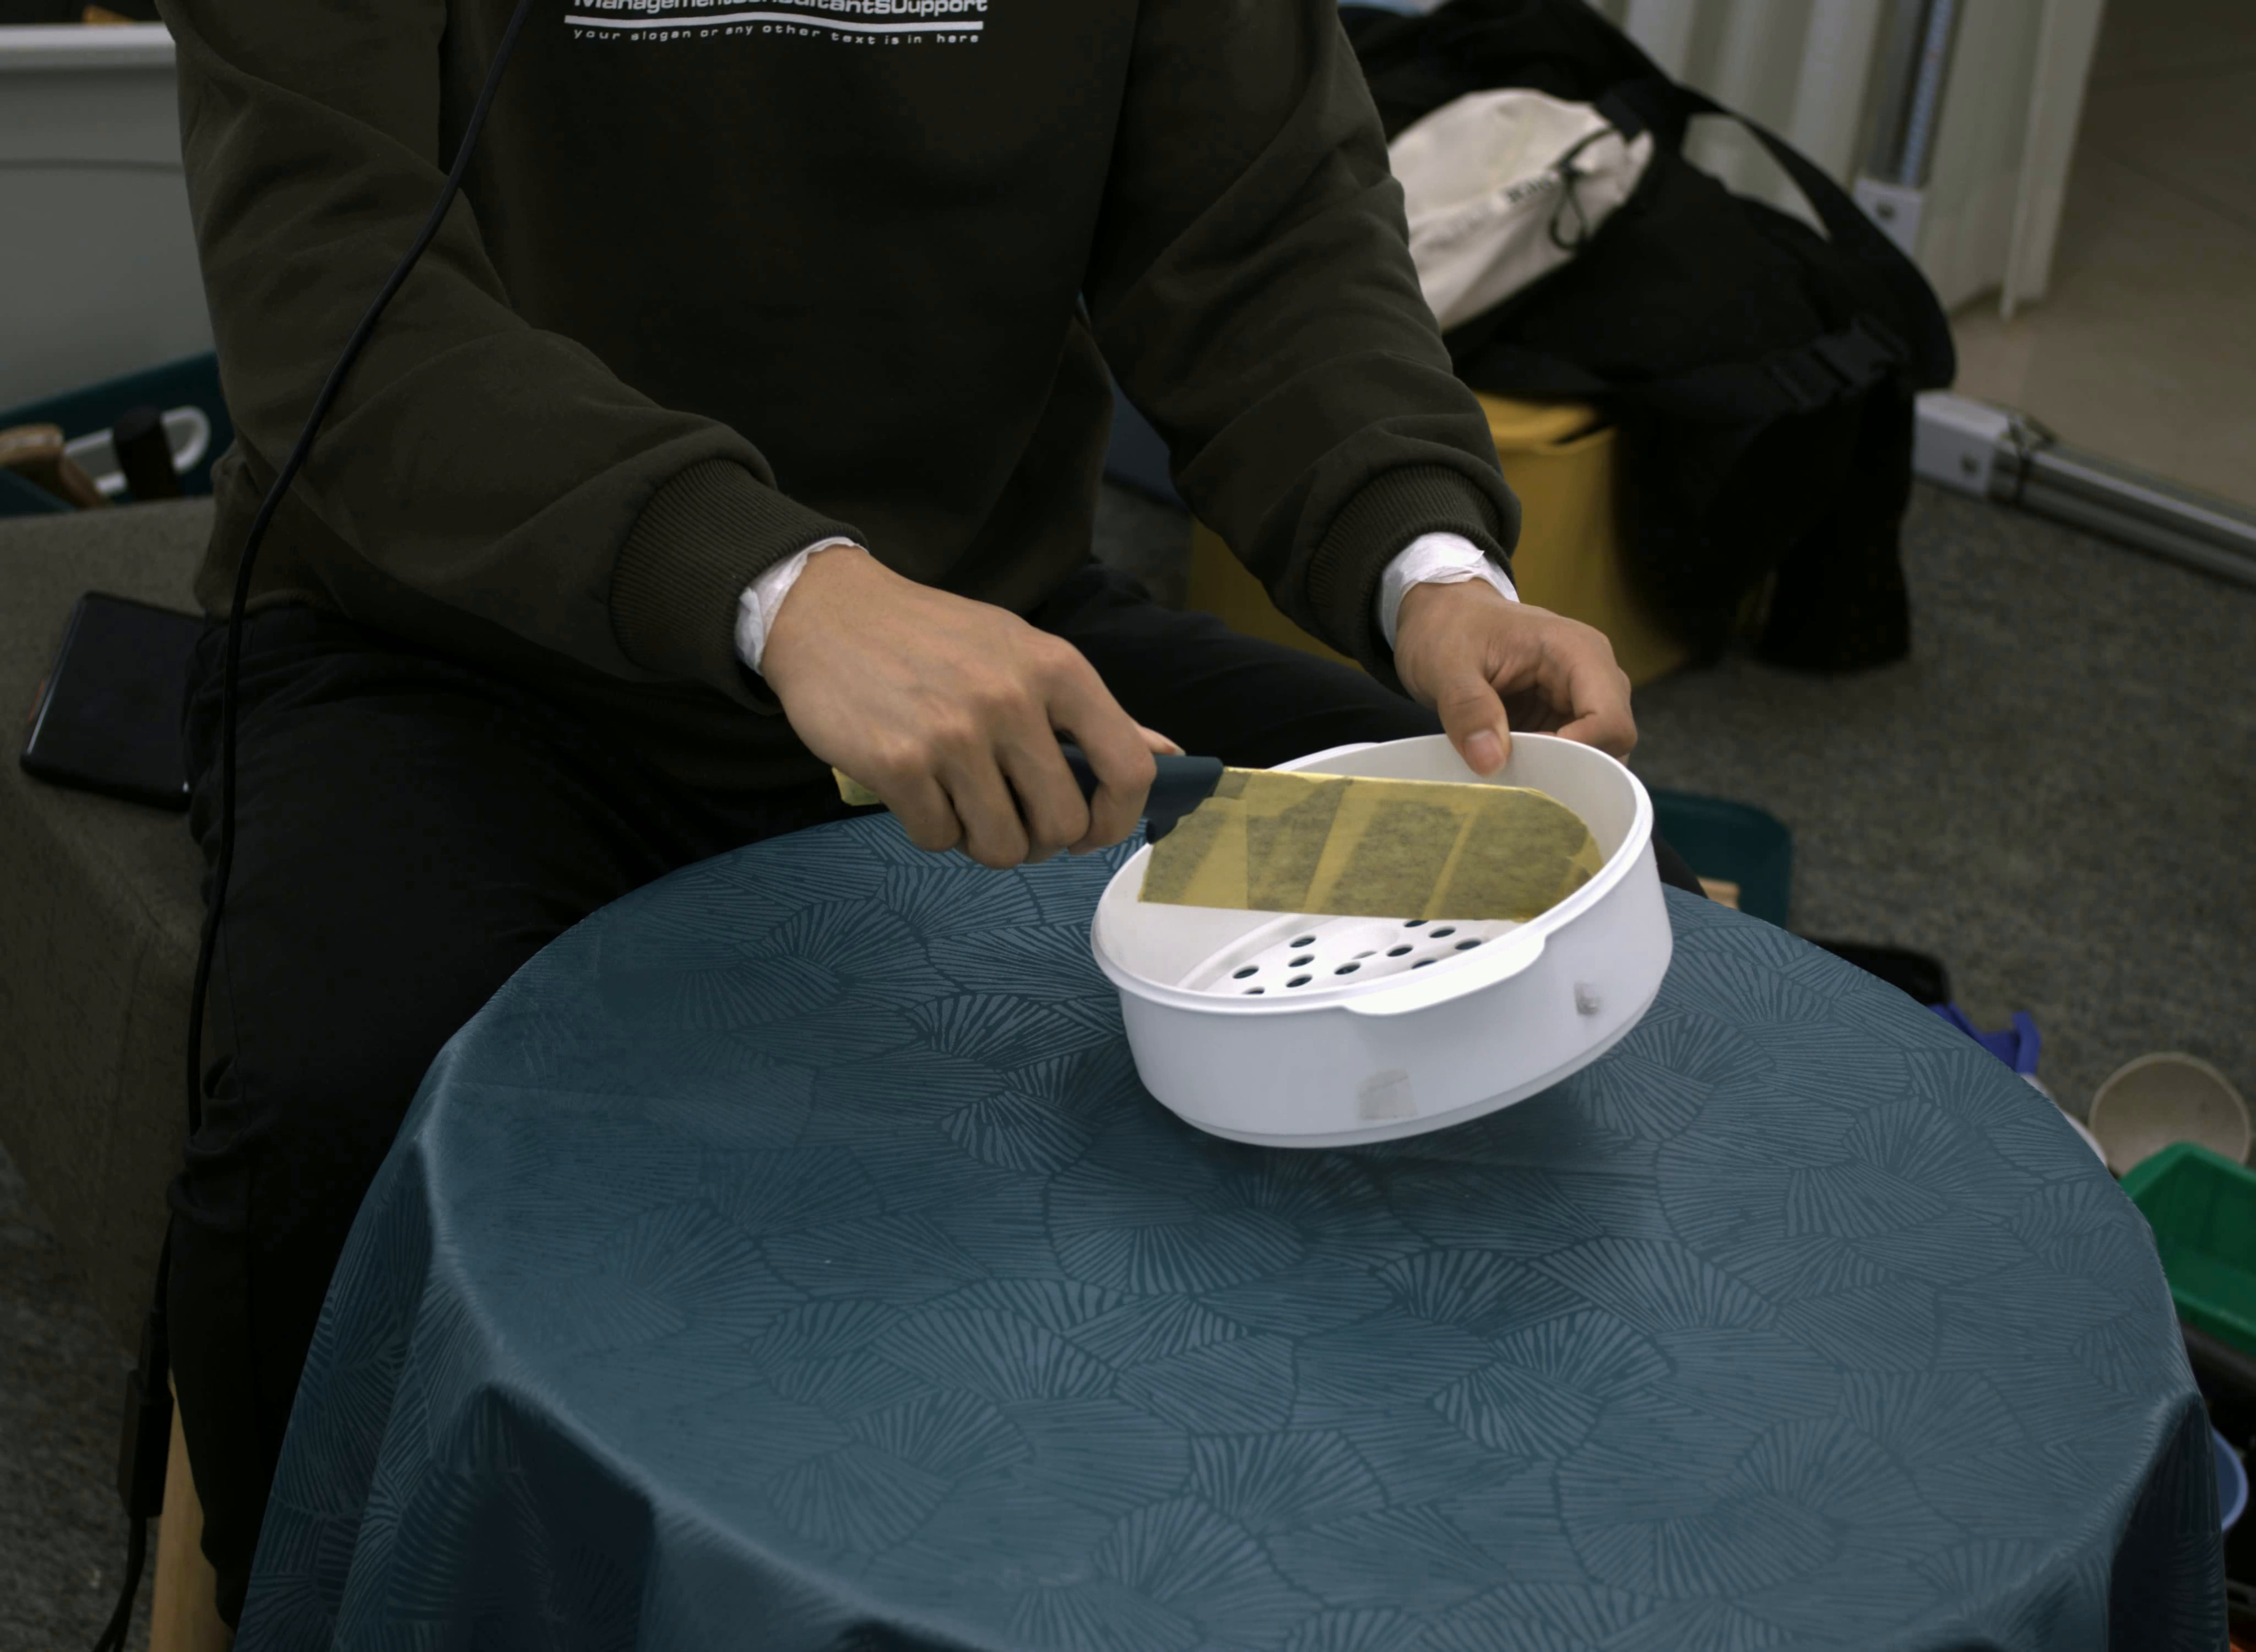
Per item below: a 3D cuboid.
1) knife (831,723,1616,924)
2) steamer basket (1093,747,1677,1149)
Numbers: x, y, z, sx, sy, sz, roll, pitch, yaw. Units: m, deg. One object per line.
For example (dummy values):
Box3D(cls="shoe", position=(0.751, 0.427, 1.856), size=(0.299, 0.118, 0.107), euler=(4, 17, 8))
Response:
Box3D(cls="knife", position=(0.035, 0.001, 1.844), size=(0.288, 0.081, 0.027), euler=(8, 43, -14))
Box3D(cls="steamer basket", position=(0.092, 0.043, 1.854), size=(0.201, 0.069, 0.232), euler=(-18, 21, -6))
